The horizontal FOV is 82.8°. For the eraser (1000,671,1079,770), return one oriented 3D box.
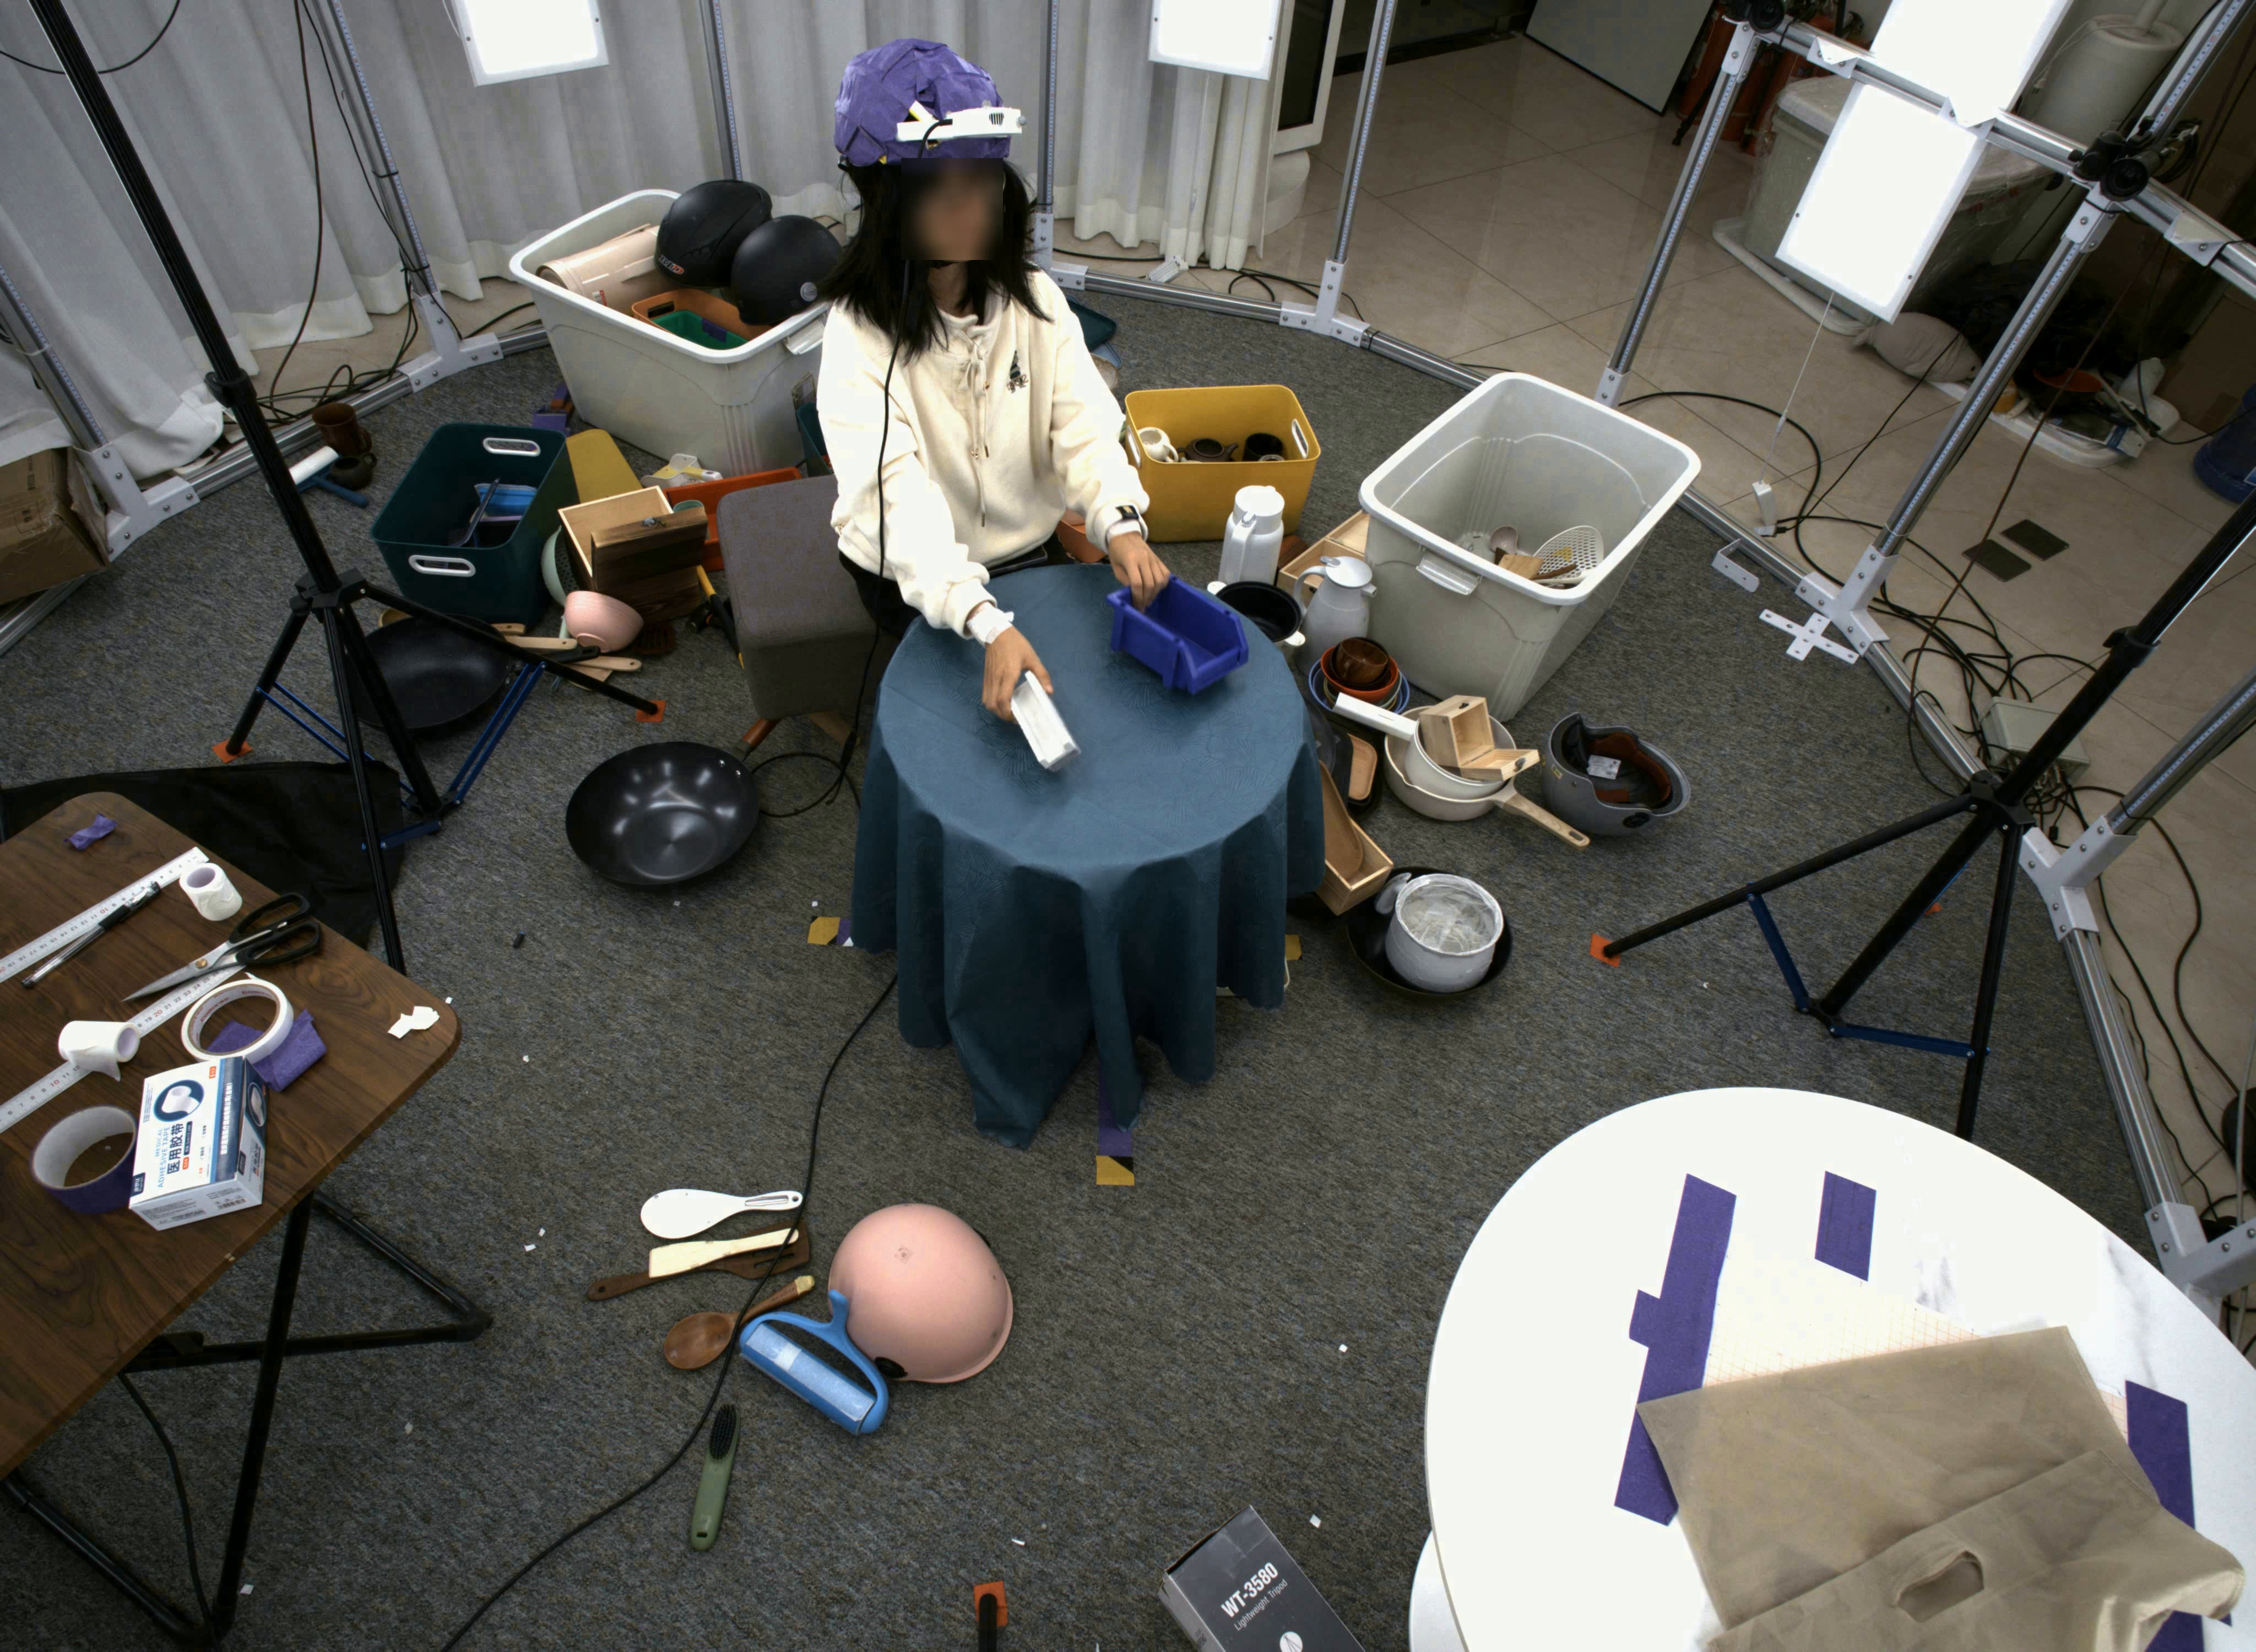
[{"bbox_3d":[-0.117,-0.141,1.715,0.049,0.046,0.137,-39,57,12],"label":"eraser"}]

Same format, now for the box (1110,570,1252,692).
[{"bbox_3d":[0.076,-0.275,1.833,0.125,0.080,0.182,-30,53,-35],"label":"box"}]
